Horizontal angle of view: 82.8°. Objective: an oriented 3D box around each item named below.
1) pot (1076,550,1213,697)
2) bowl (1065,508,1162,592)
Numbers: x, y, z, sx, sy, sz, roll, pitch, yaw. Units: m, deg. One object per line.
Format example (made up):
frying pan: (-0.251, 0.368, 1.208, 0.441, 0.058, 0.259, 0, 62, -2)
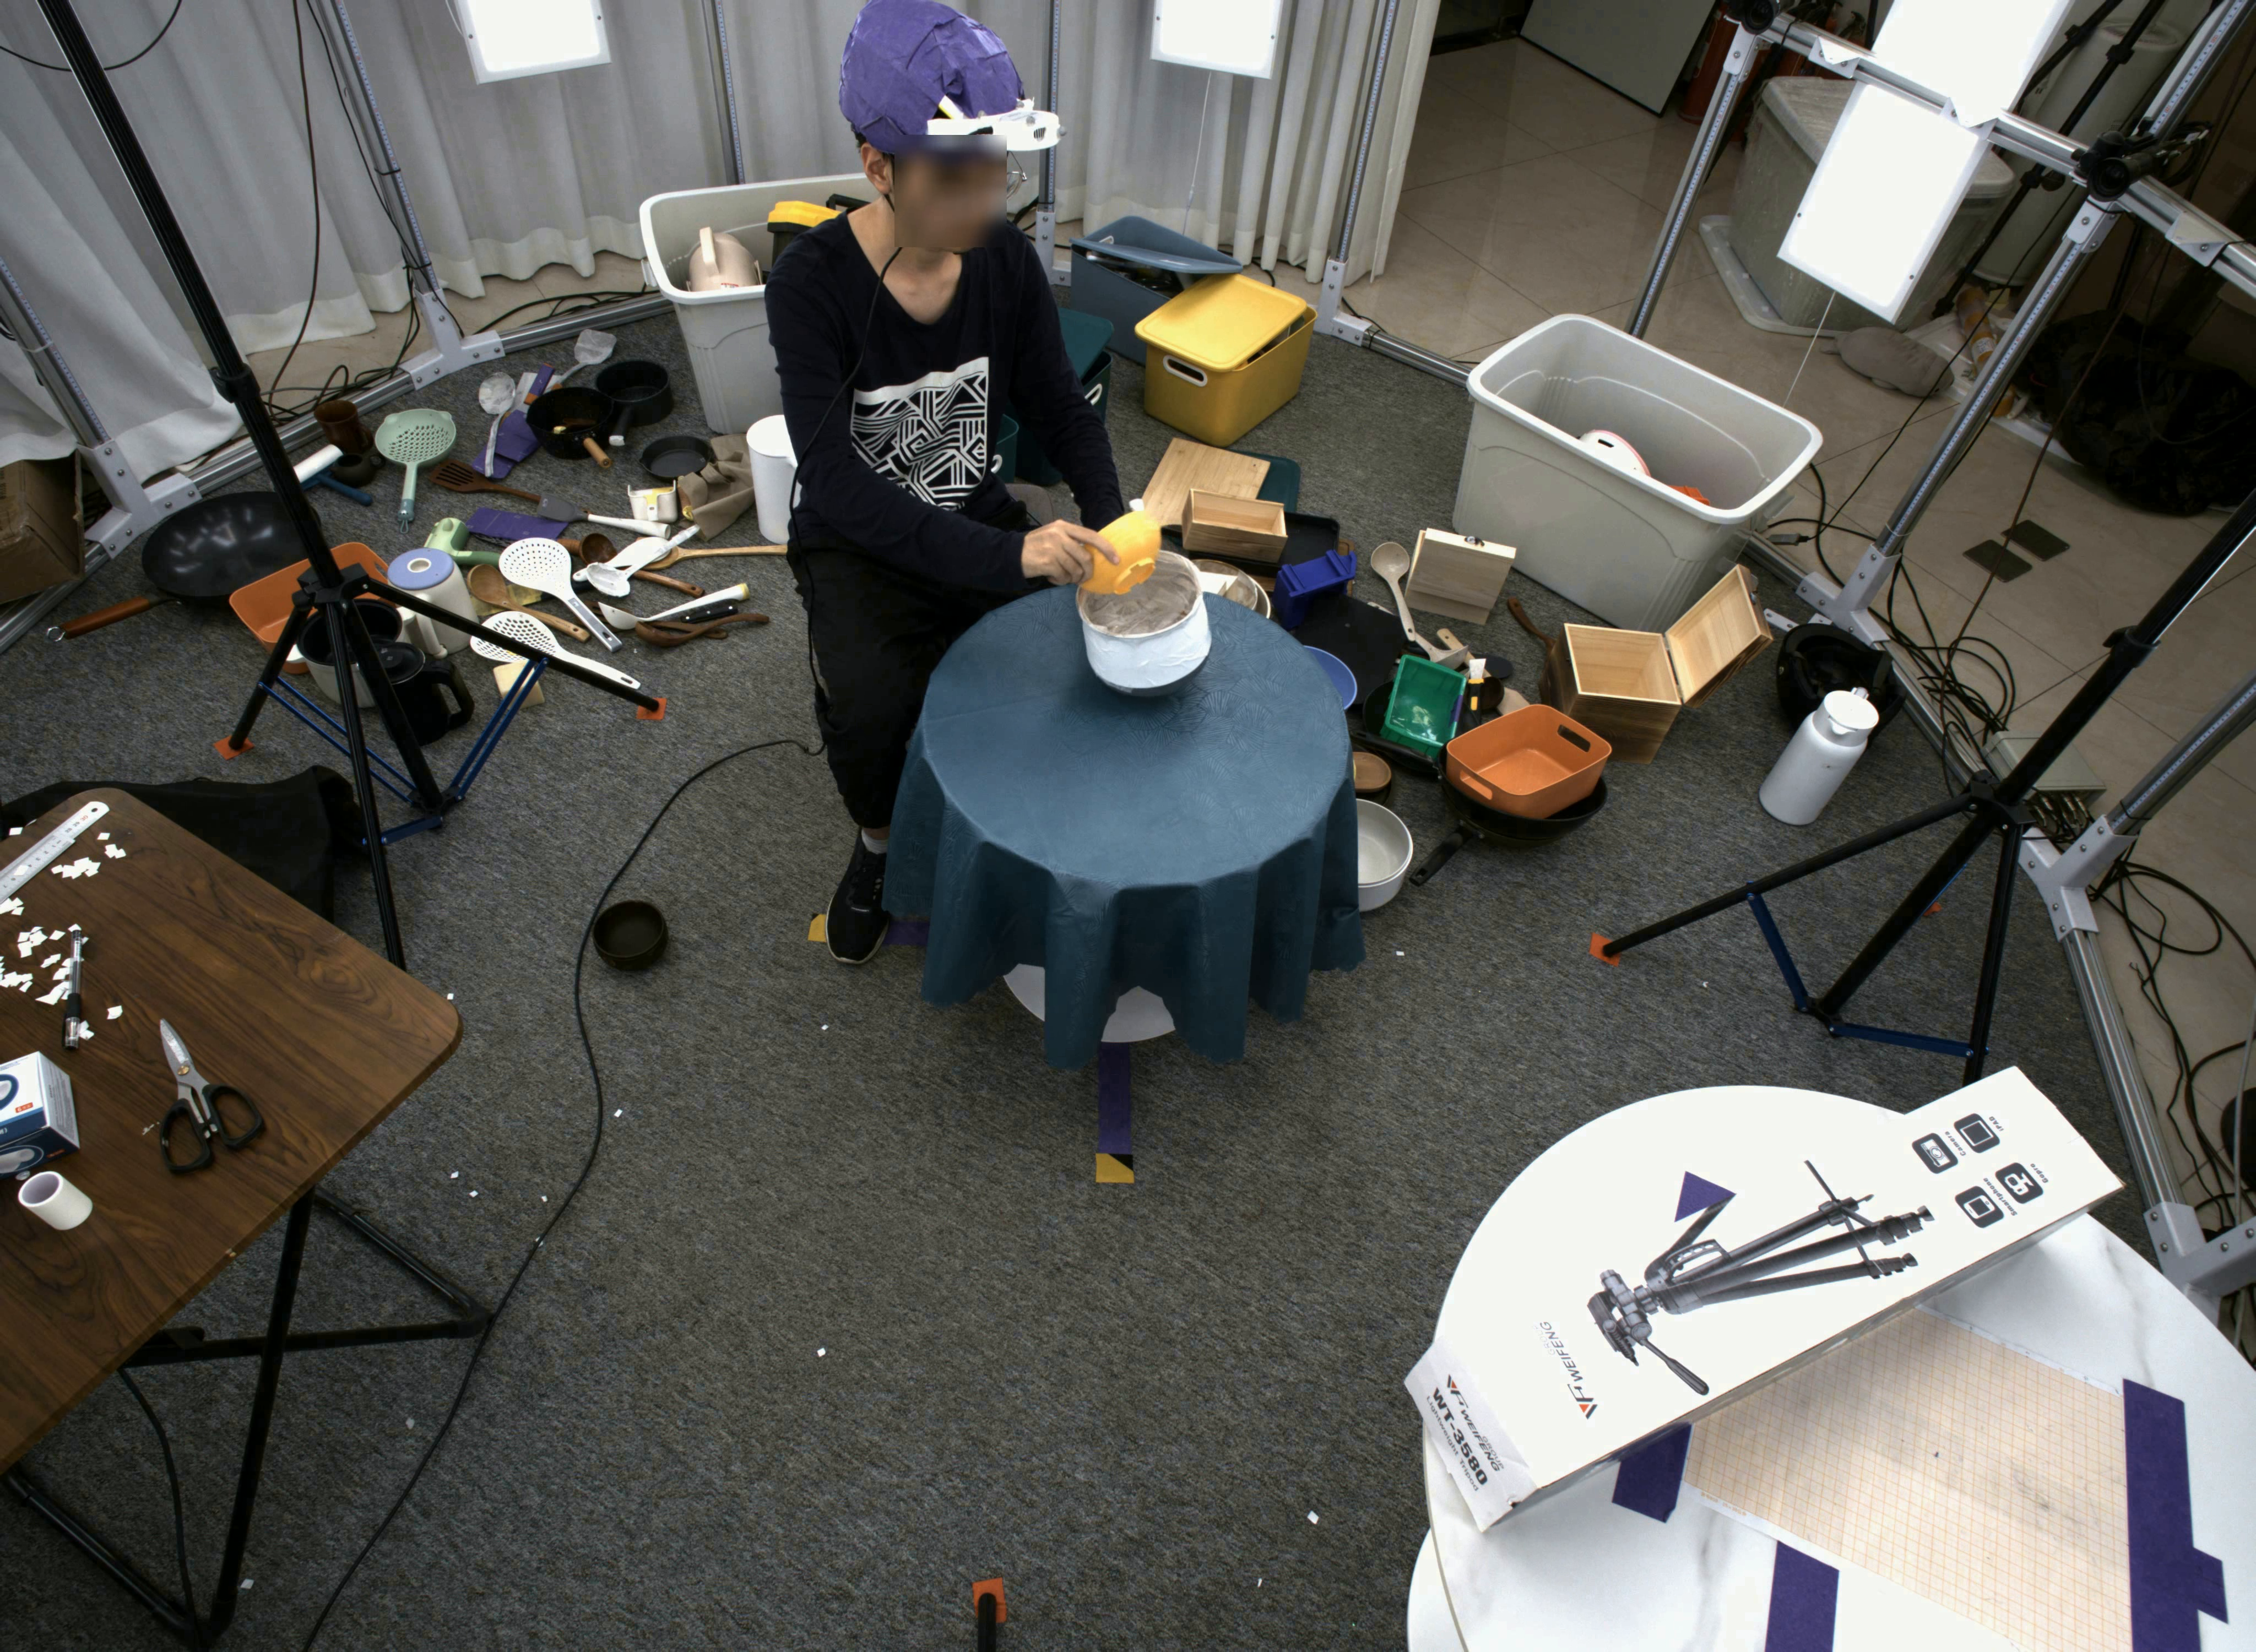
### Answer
pot: (0.018, -0.298, 1.809, 0.179, 0.133, 0.239, -18, 48, -5)
bowl: (-0.008, -0.357, 1.722, 0.146, 0.143, 0.060, -25, 79, -24)
